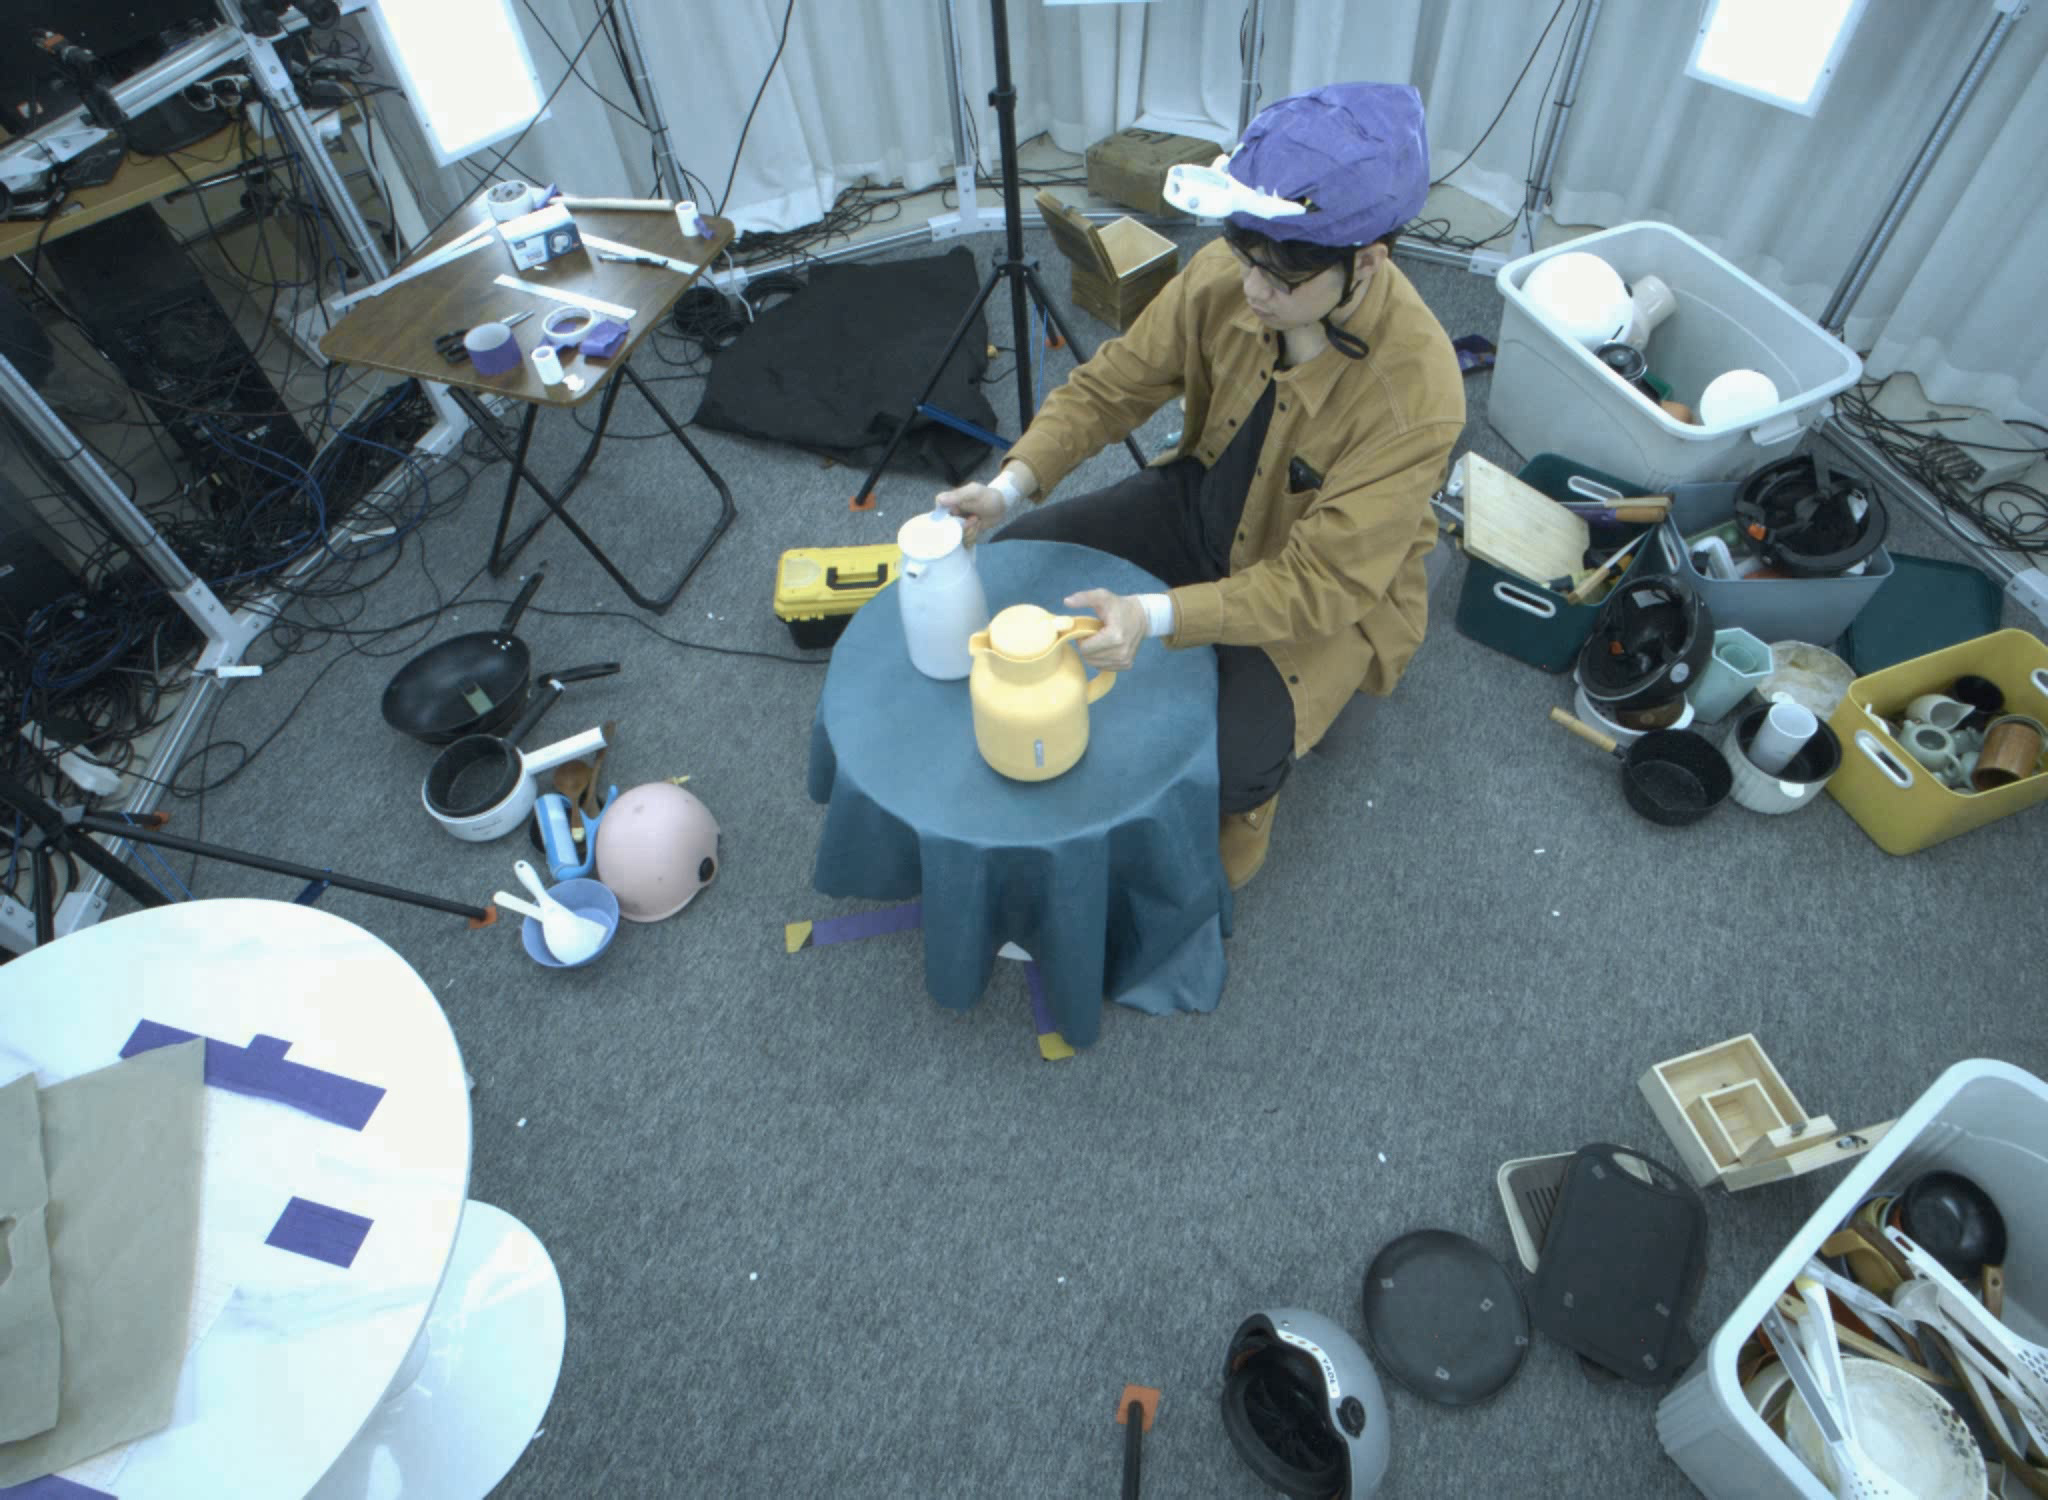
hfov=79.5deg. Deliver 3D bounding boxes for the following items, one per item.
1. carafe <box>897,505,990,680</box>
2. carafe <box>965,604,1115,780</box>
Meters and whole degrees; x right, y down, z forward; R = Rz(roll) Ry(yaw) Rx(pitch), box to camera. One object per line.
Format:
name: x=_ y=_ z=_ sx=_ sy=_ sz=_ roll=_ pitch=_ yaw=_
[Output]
carafe: x=-0.118 y=-0.245 z=1.807 sx=0.131 sy=0.251 sz=0.168 roll=17 pitch=57 yaw=17
carafe: x=0.025 y=-0.087 z=1.683 sx=0.203 sy=0.263 sz=0.161 roll=-10 pitch=56 yaw=-2
